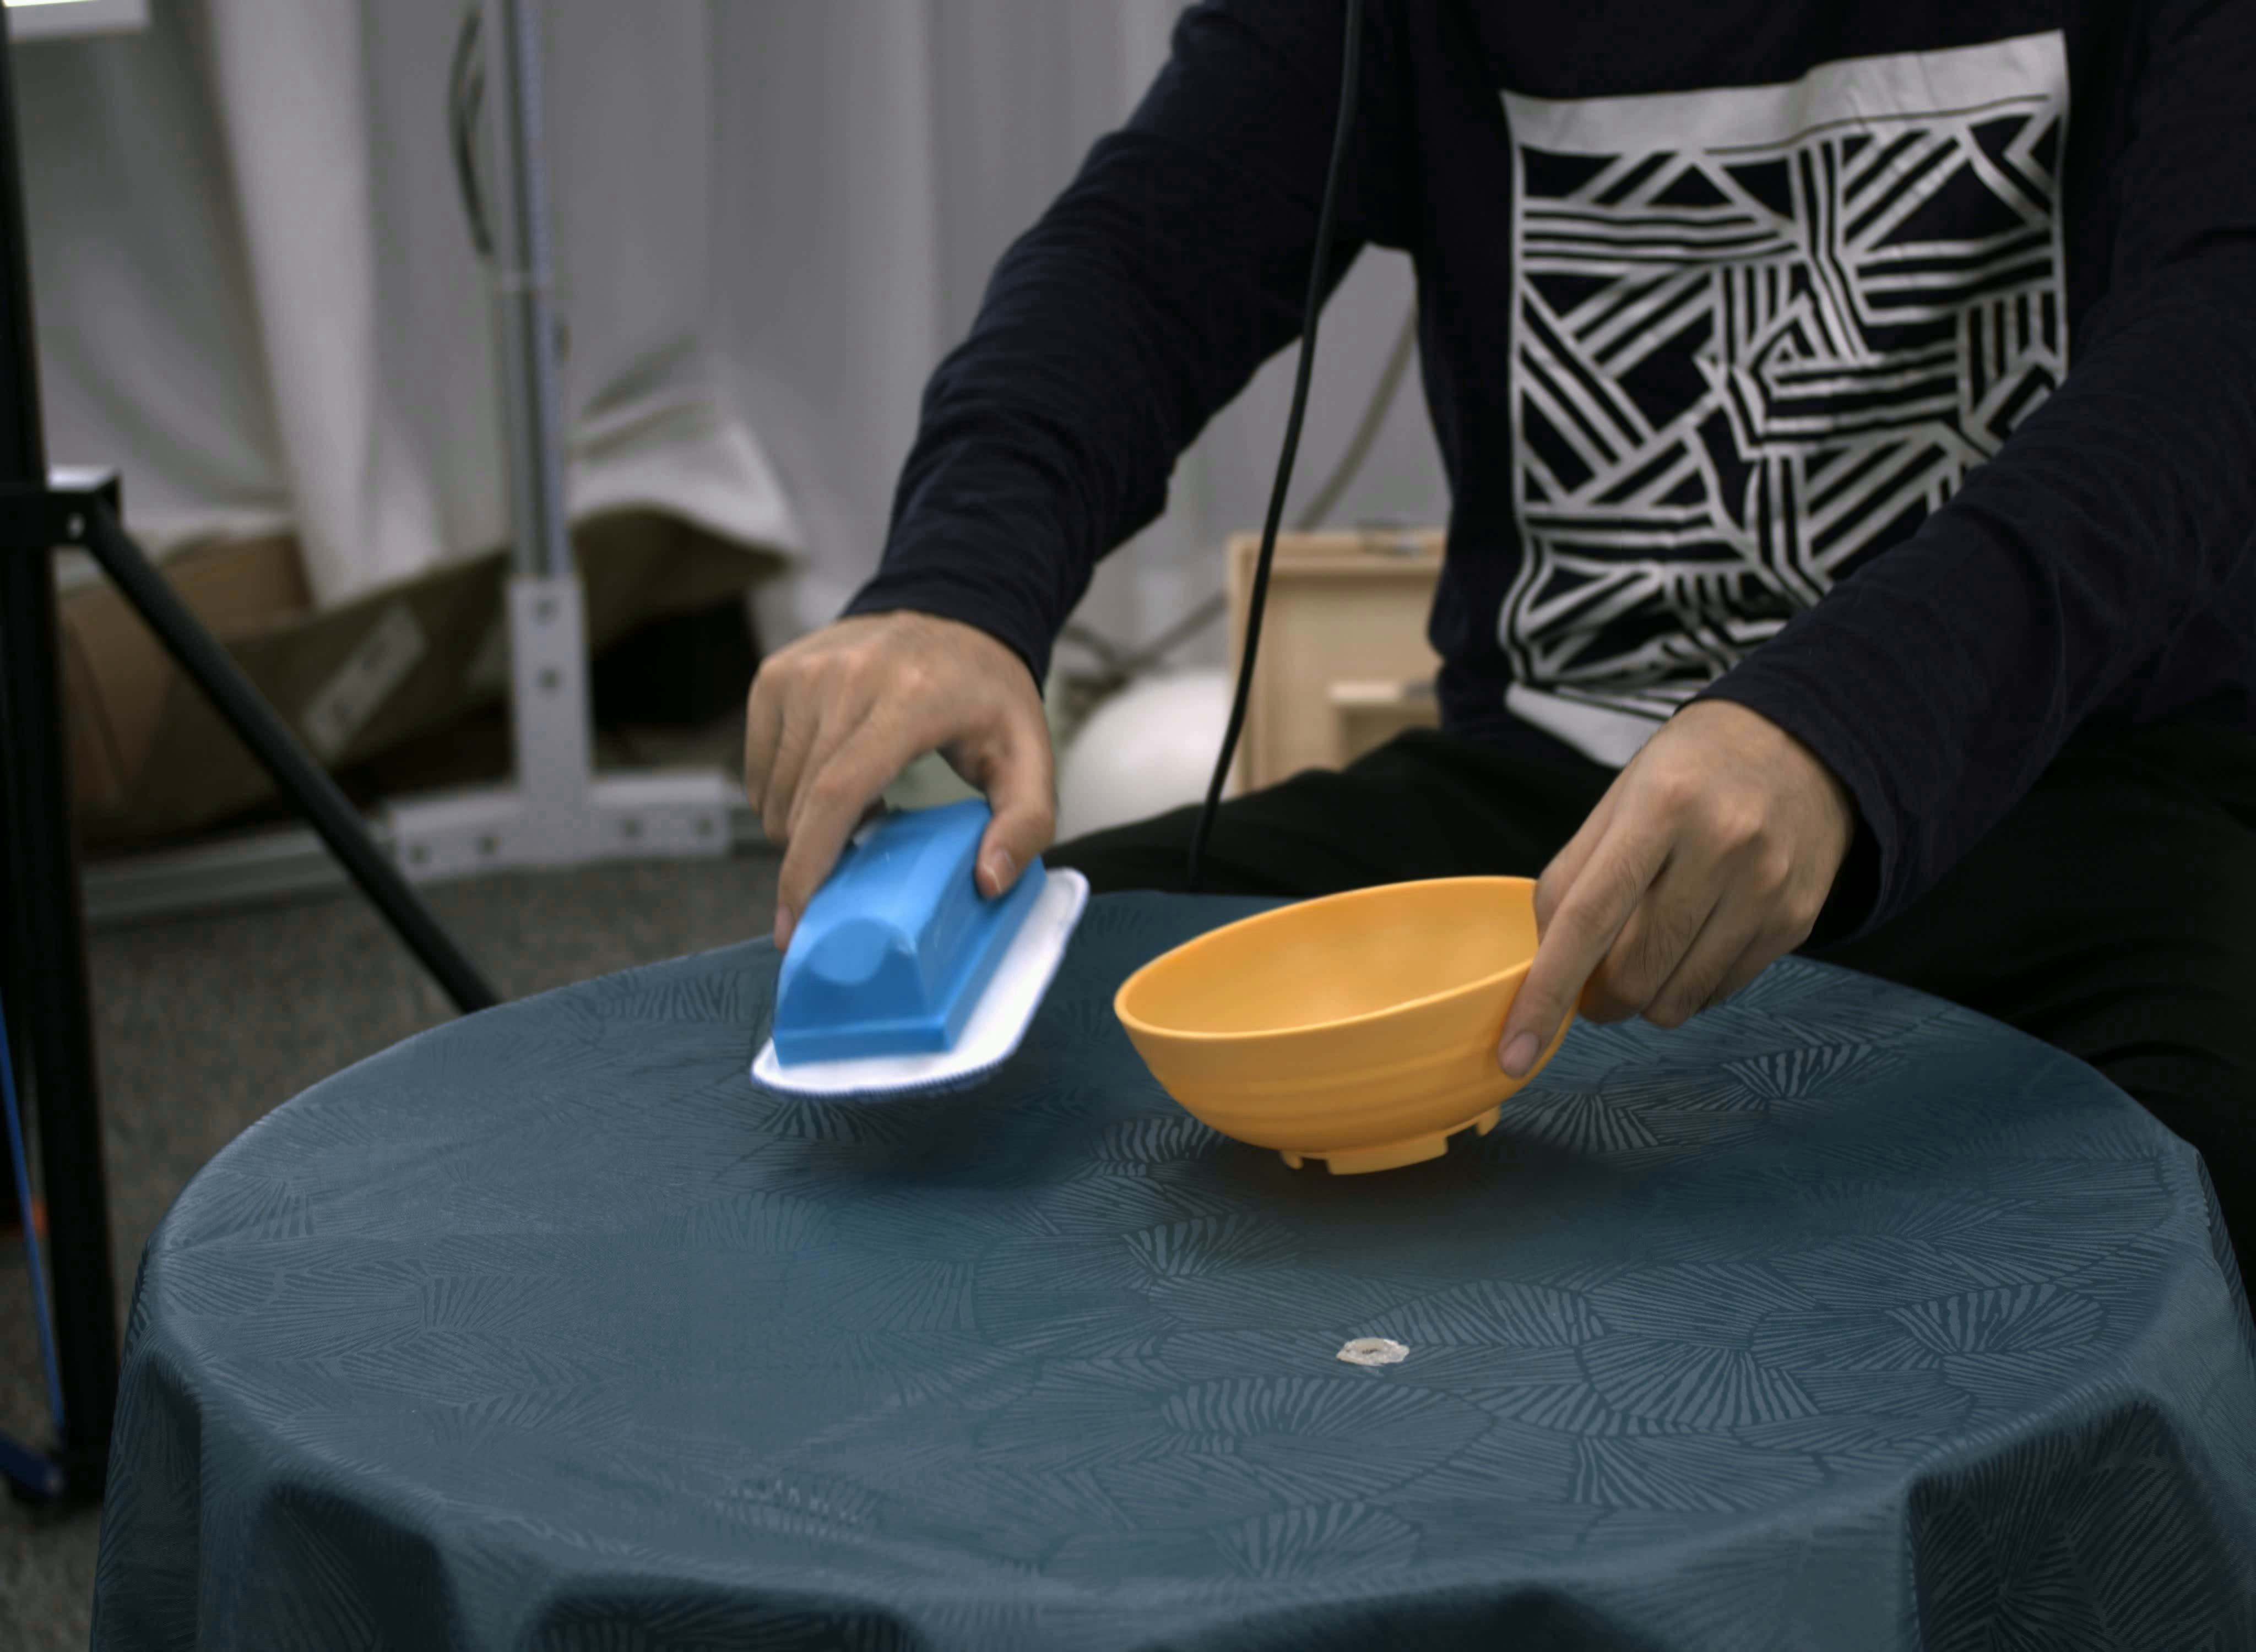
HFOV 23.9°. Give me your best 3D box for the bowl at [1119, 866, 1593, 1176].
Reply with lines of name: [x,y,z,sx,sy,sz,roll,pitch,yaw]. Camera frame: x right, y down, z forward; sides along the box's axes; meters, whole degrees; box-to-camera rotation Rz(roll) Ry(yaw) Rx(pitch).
bowl: [0.074,0.065,1.575,0.145,0.060,0.146,-13,15,2]

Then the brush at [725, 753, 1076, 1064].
brush: [-0.070,0.021,1.632,0.084,0.055,0.143,-1,27,16]
